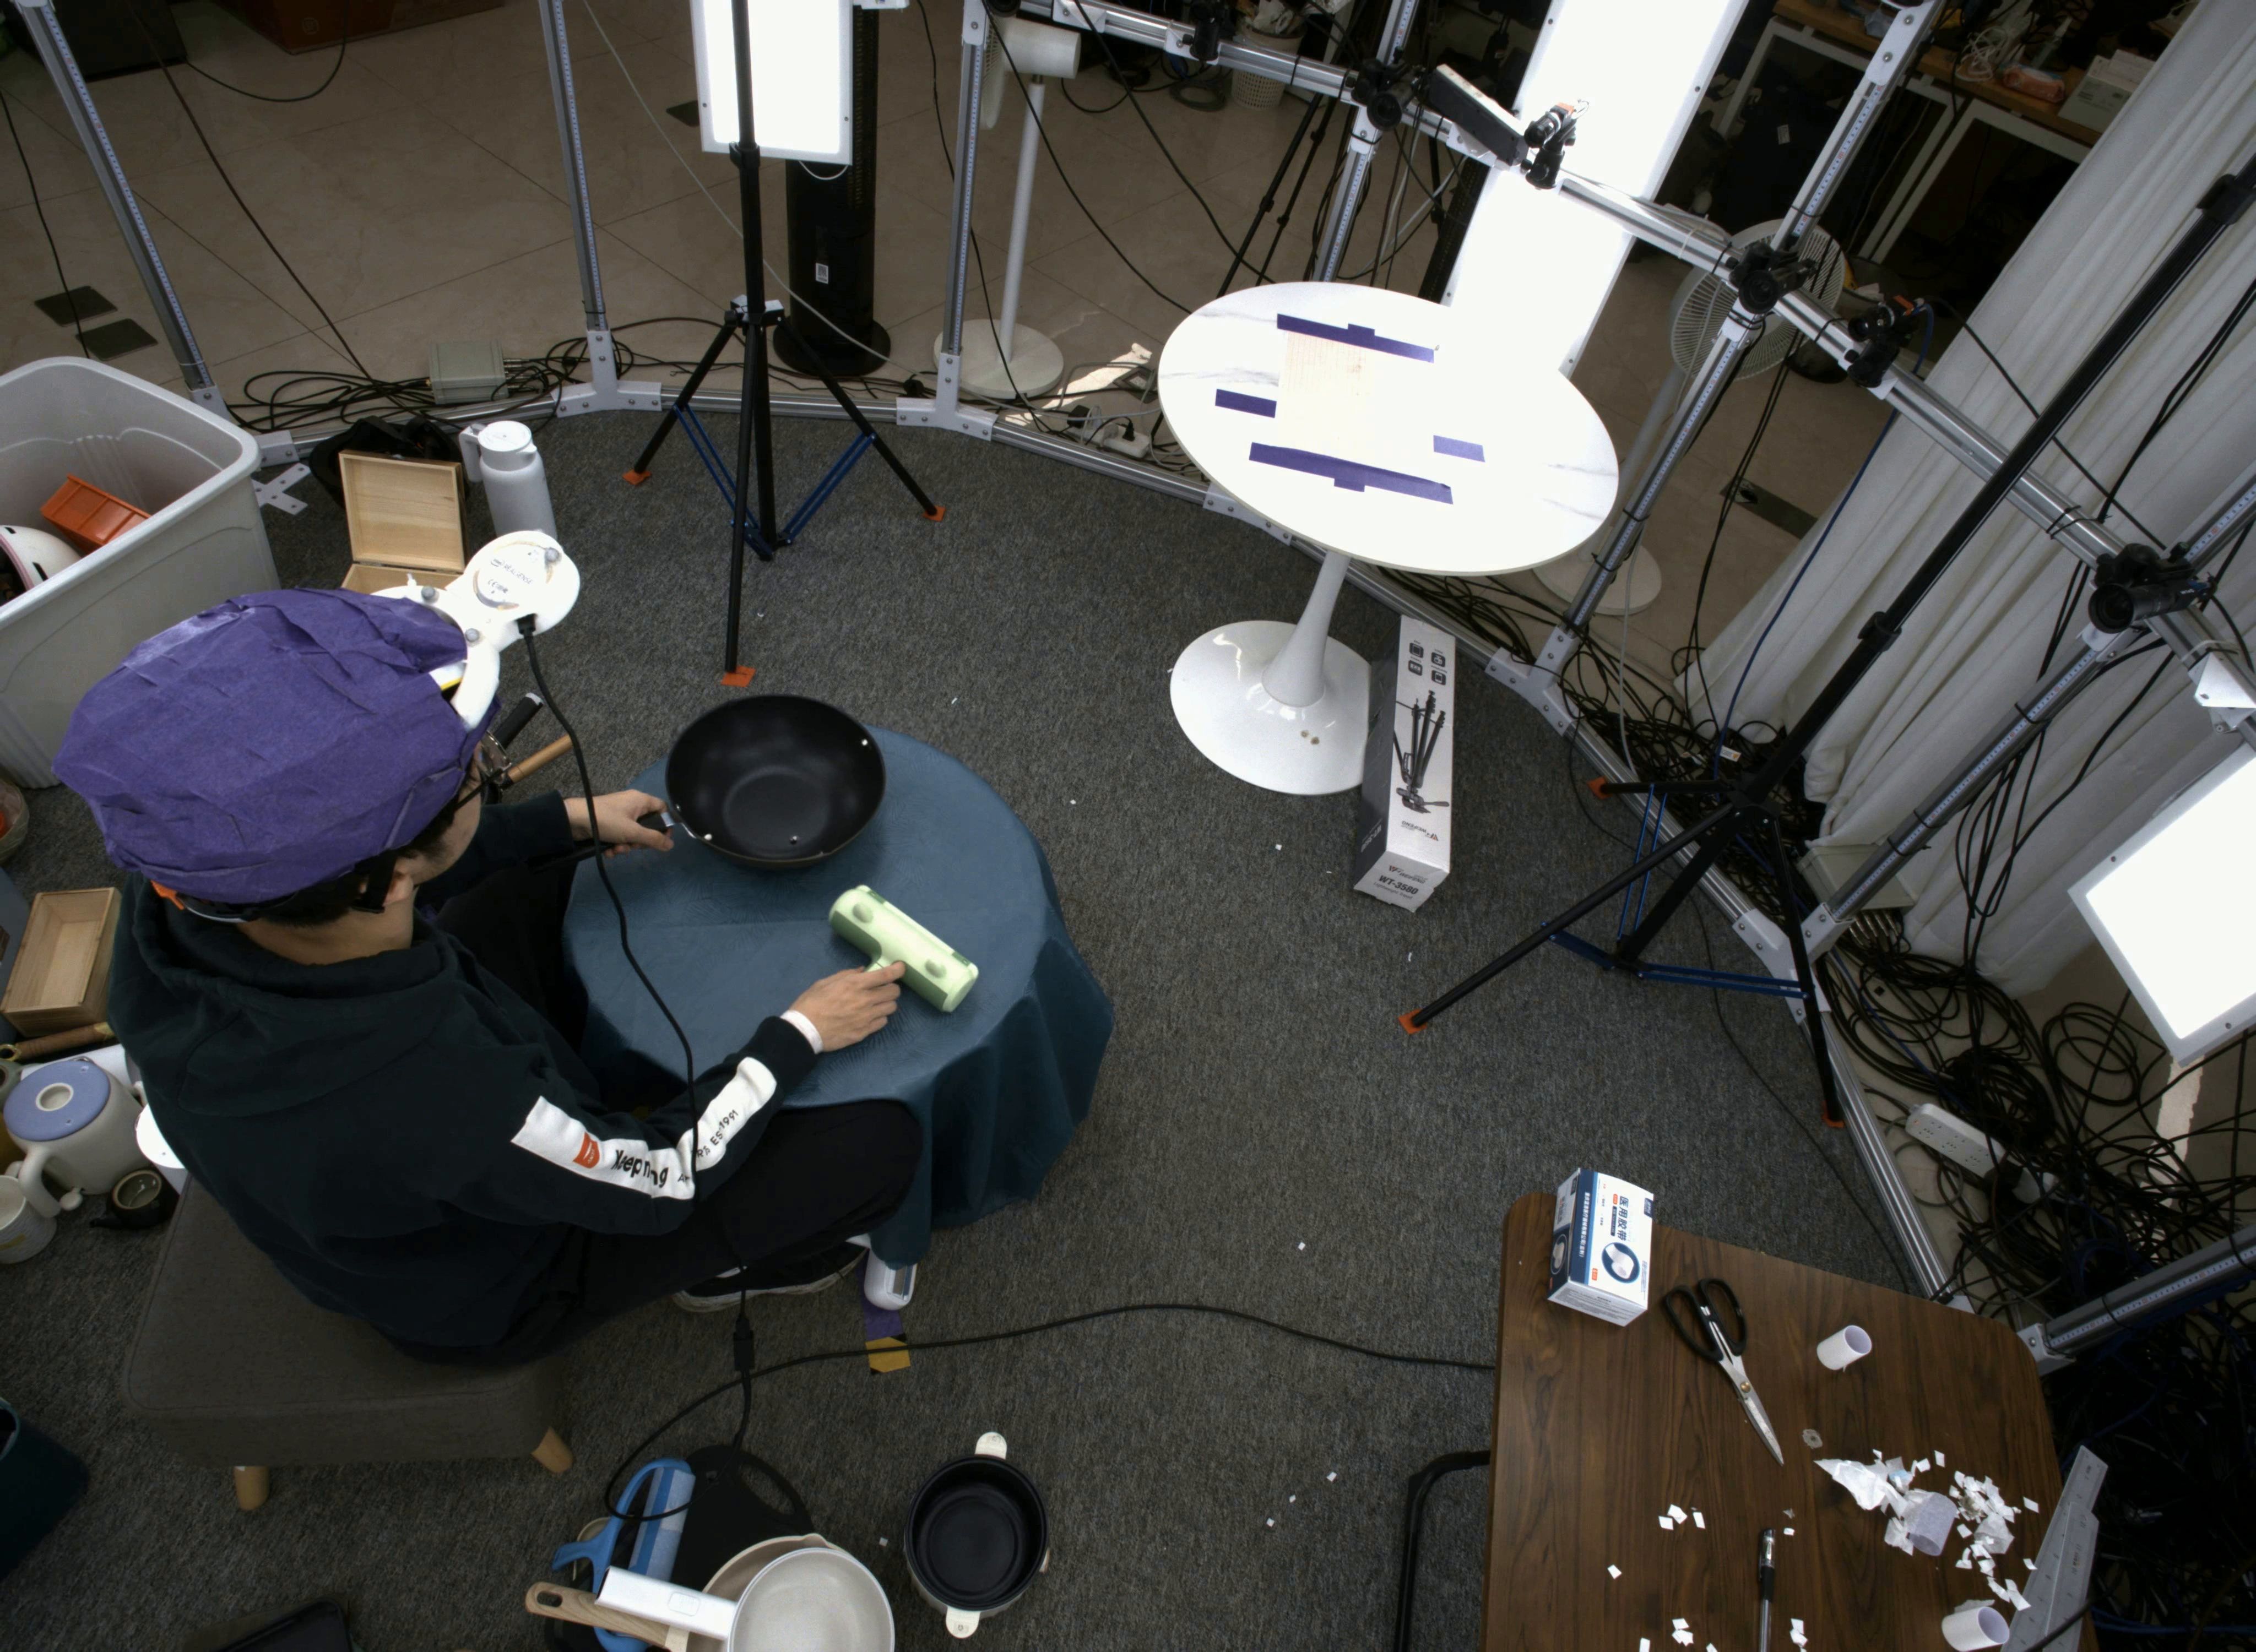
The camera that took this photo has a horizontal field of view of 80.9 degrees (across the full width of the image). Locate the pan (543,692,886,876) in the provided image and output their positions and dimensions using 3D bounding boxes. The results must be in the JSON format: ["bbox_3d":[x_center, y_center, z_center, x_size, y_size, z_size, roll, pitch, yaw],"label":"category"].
[{"bbox_3d":[-0.532,-0.012,1.655,0.465,0.088,0.281,-26,63,-29],"label":"pan"}]

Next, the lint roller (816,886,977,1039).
[{"bbox_3d":[-0.310,0.178,1.575,0.195,0.083,0.183,36,50,10],"label":"lint roller"}]
